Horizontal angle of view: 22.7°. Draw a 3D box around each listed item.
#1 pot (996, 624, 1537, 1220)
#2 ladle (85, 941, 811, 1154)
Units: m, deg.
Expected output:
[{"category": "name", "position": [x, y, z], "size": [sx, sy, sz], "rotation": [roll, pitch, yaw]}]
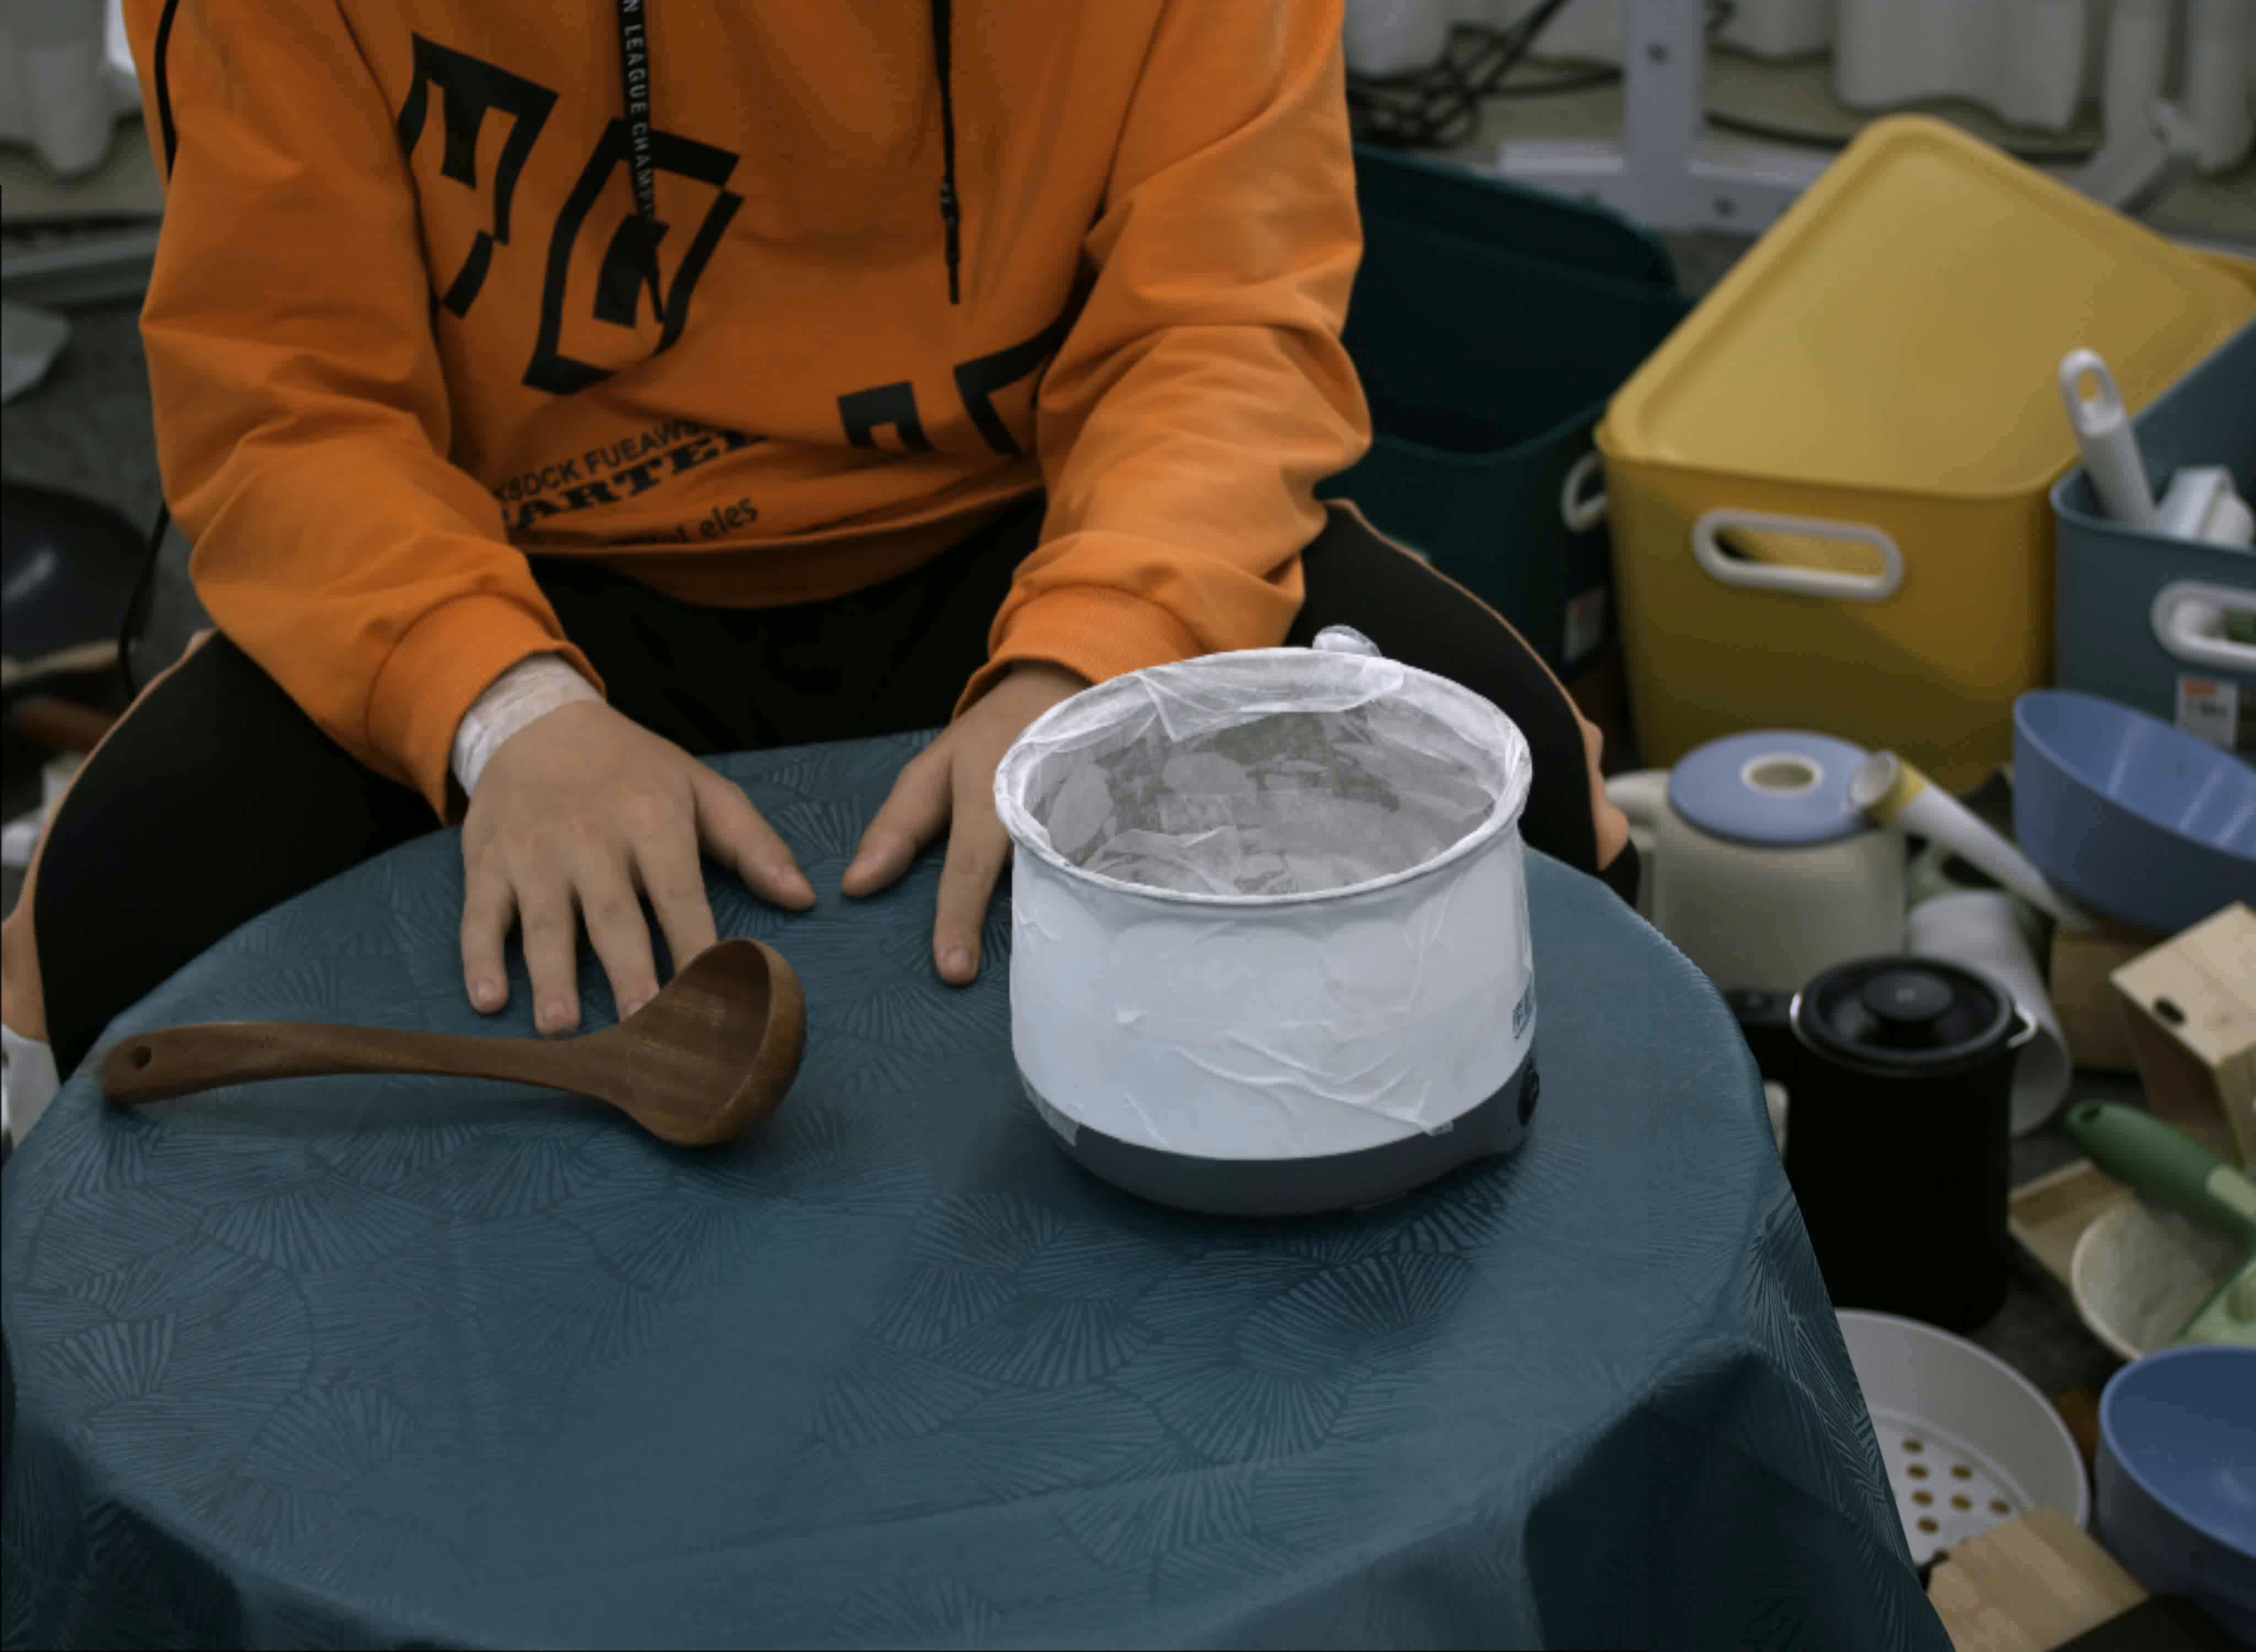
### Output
[{"category": "pot", "position": [0.055, 0.025, 1.896], "size": [0.177, 0.135, 0.238], "rotation": [5, 28, 14]}, {"category": "ladle", "position": [-0.234, 0.075, 1.911], "size": [0.258, 0.064, 0.078], "rotation": [1, 53, 6]}]
